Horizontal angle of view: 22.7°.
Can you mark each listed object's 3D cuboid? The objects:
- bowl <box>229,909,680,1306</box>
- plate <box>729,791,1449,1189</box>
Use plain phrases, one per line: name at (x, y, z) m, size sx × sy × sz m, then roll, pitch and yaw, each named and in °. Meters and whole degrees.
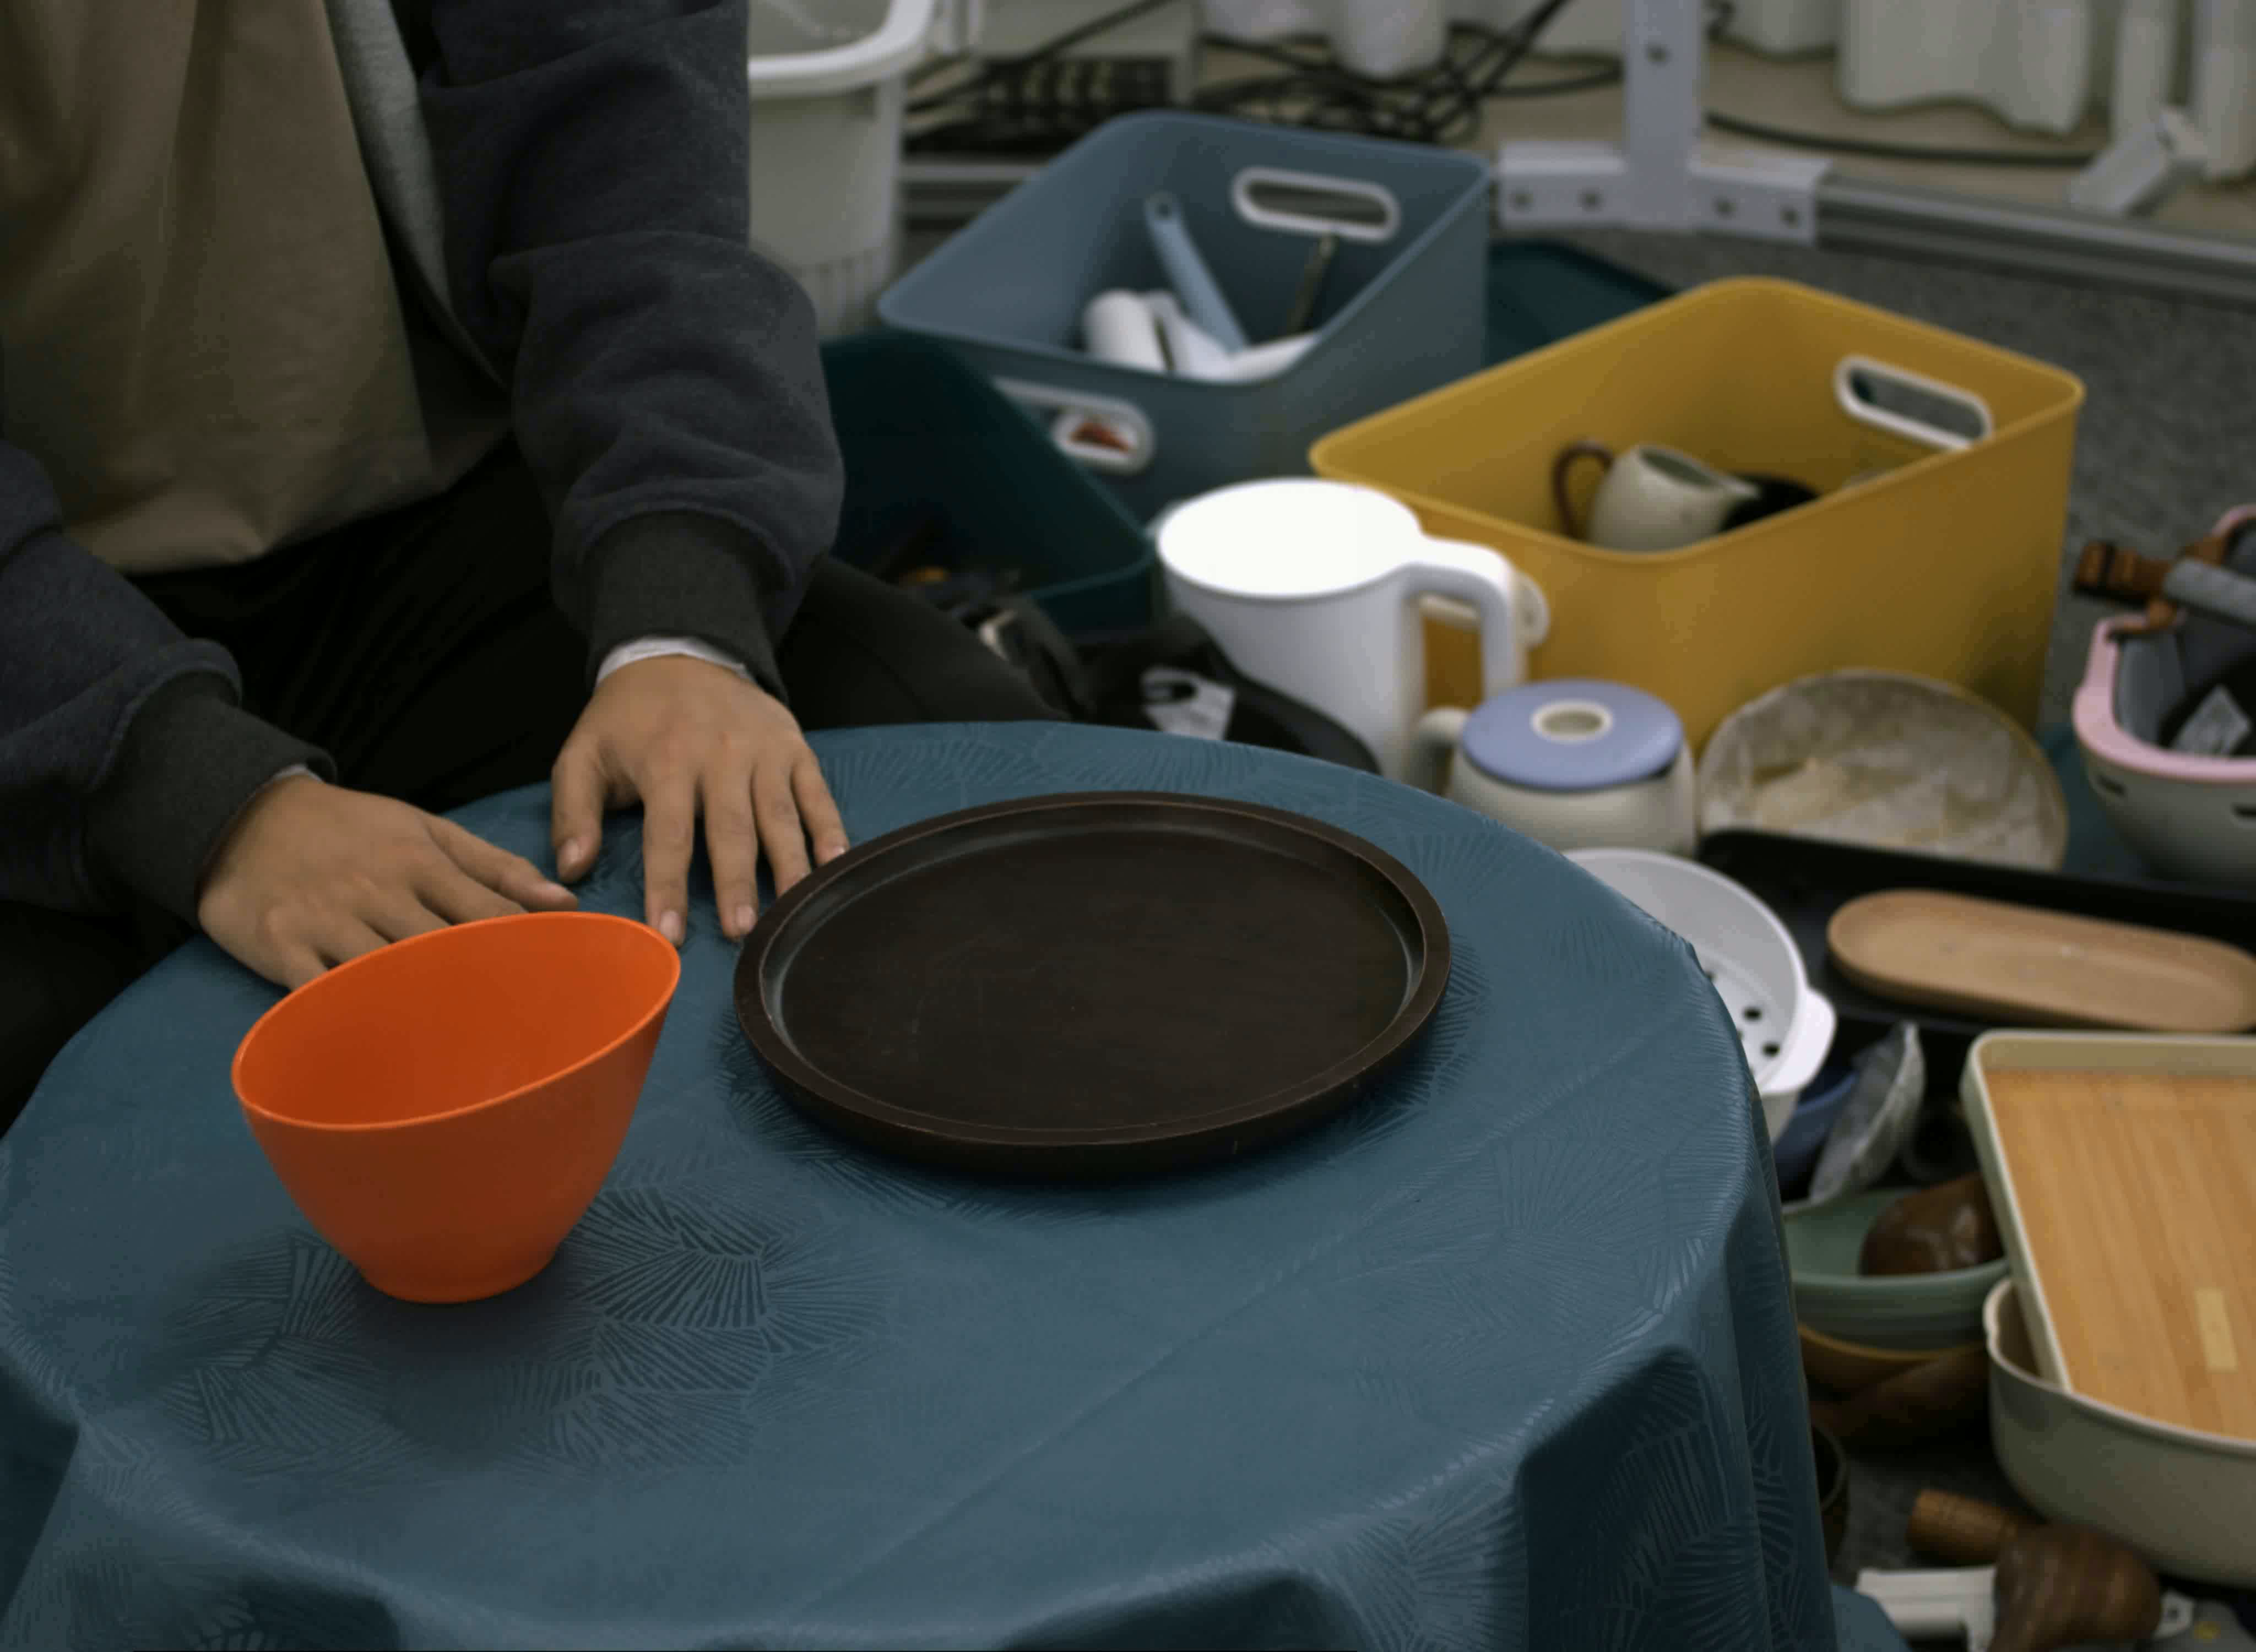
bowl at (-0.214, 0.098, 1.820) m, size 0.147 × 0.103 × 0.150 m, roll -3°, pitch 29°, yaw 2°
plate at (-0.013, 0.055, 1.966) m, size 0.253 × 0.029 × 0.259 m, roll -3°, pitch 28°, yaw 2°
